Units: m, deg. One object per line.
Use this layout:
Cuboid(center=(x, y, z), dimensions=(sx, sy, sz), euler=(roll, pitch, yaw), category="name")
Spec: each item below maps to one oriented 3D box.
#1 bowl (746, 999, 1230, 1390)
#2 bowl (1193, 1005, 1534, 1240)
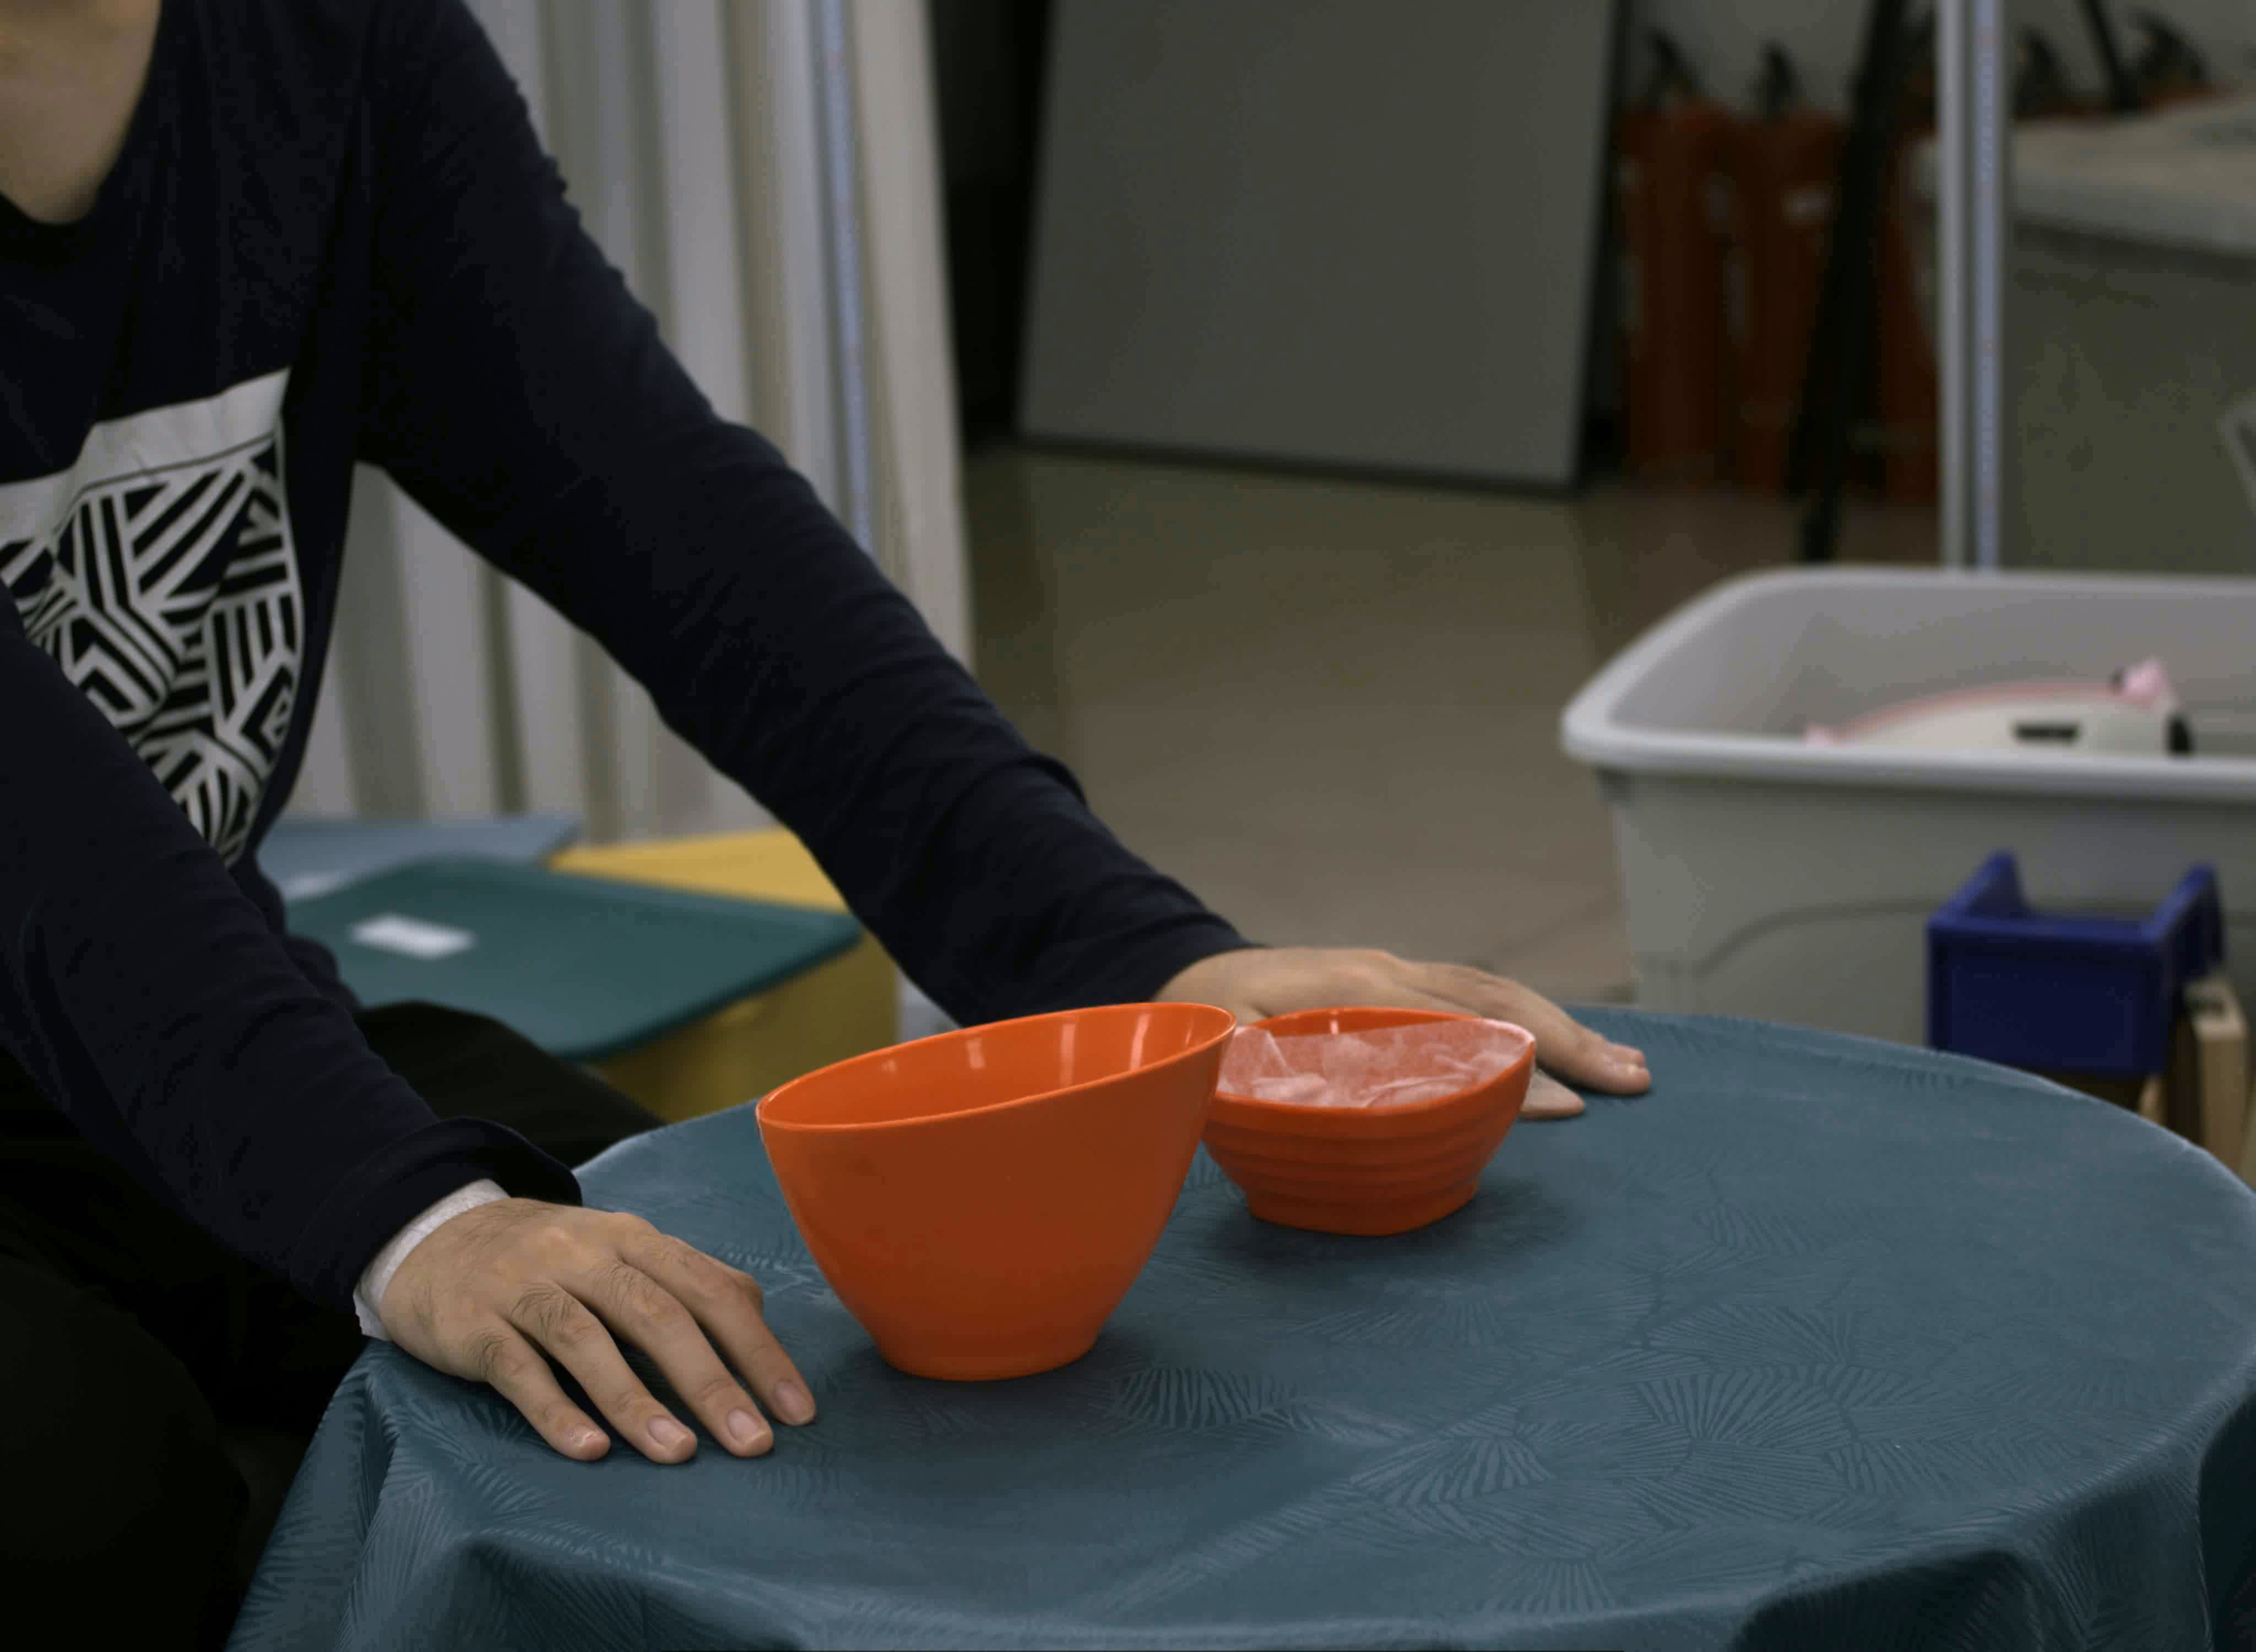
Cuboid(center=(-0.040, 0.110, 1.615), dimensions=(0.146, 0.106, 0.148), euler=(-4, 14, 0), category="bowl")
Cuboid(center=(0.075, 0.098, 1.741), dimensions=(0.117, 0.052, 0.119), euler=(-5, 15, 0), category="bowl")
